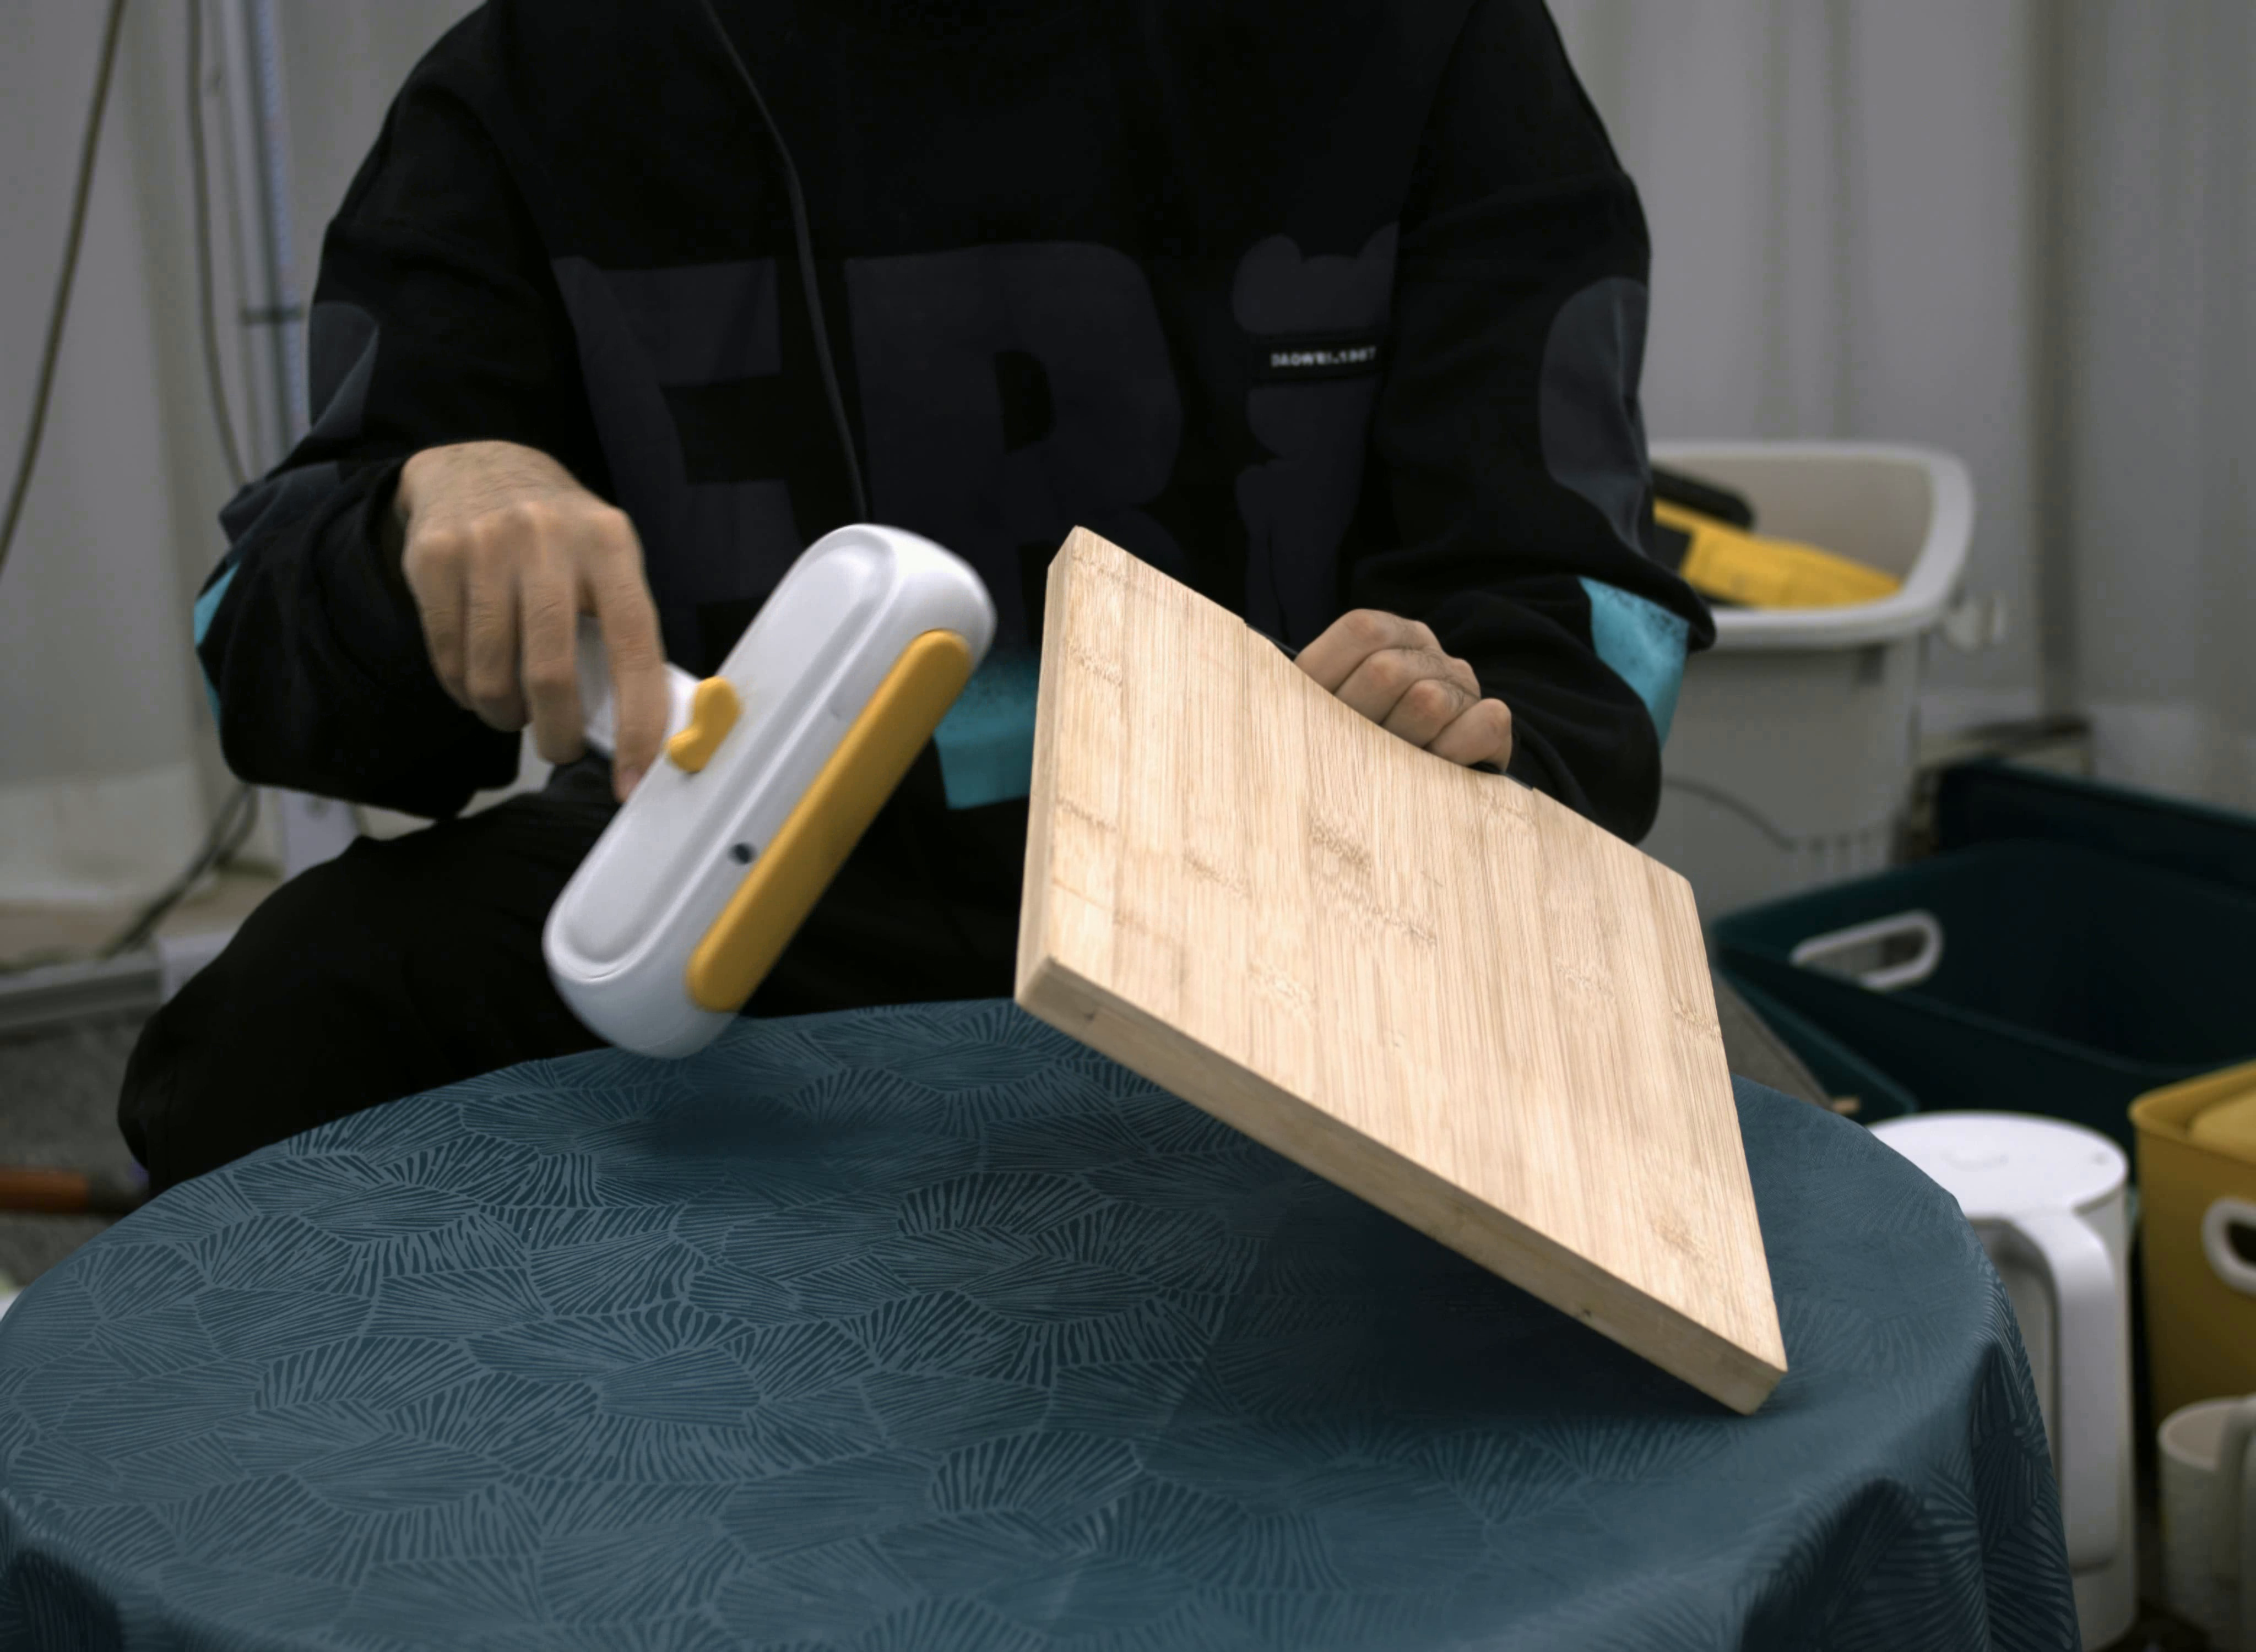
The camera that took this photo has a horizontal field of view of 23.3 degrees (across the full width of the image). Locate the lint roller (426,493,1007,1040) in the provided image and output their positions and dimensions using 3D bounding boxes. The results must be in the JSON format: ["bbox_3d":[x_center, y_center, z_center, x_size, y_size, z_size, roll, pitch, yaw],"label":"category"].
[{"bbox_3d":[-0.154,-0.040,1.812,0.194,0.193,0.073,23,-9,41],"label":"lint roller"}]

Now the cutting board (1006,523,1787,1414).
[{"bbox_3d":[0.078,0.032,1.640,0.249,0.023,0.352,30,20,-11],"label":"cutting board"}]
